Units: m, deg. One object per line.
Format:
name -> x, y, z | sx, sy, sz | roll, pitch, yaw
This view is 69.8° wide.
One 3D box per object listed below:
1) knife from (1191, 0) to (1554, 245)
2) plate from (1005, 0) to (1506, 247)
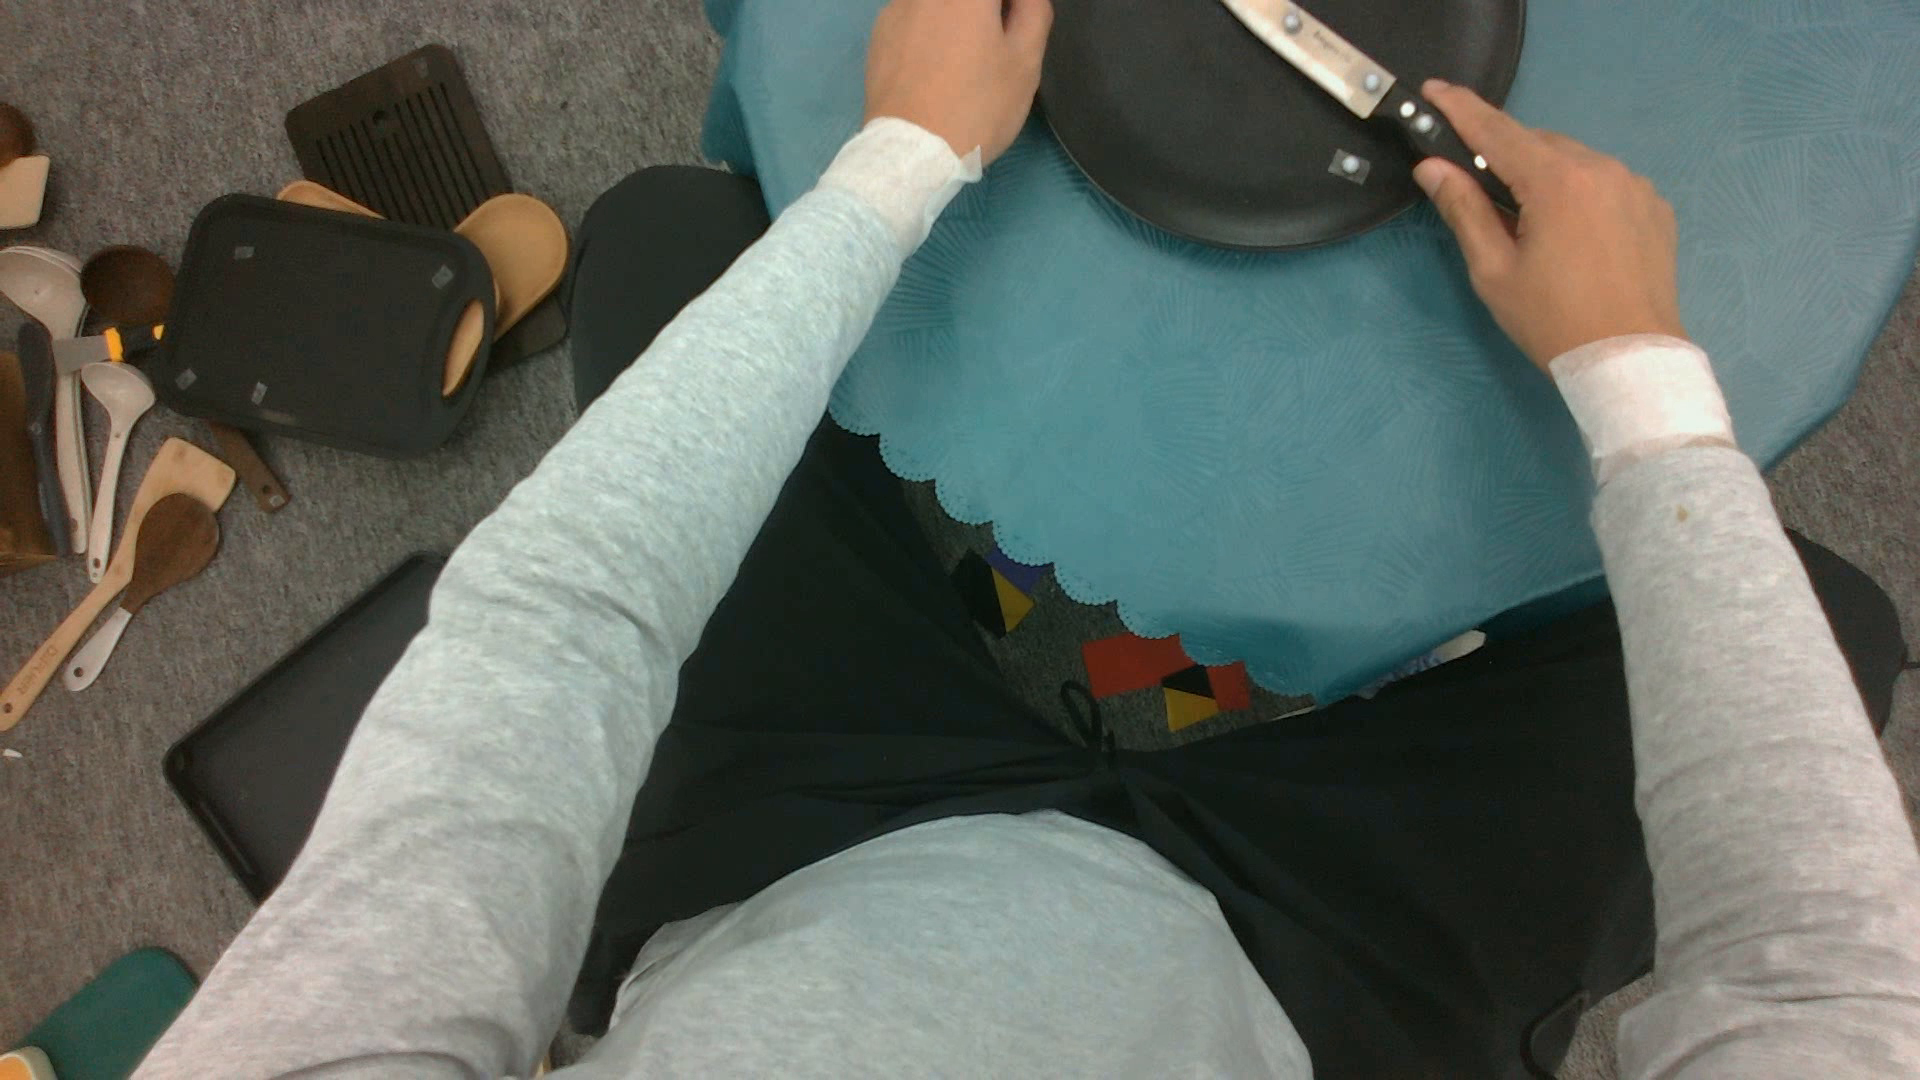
knife -> 0.188, -0.219, 0.664 | 0.238, 0.016, 0.024 | 40, 106, 11
plate -> 0.144, -0.264, 0.682 | 0.244, 0.023, 0.244 | 0, 86, 3
